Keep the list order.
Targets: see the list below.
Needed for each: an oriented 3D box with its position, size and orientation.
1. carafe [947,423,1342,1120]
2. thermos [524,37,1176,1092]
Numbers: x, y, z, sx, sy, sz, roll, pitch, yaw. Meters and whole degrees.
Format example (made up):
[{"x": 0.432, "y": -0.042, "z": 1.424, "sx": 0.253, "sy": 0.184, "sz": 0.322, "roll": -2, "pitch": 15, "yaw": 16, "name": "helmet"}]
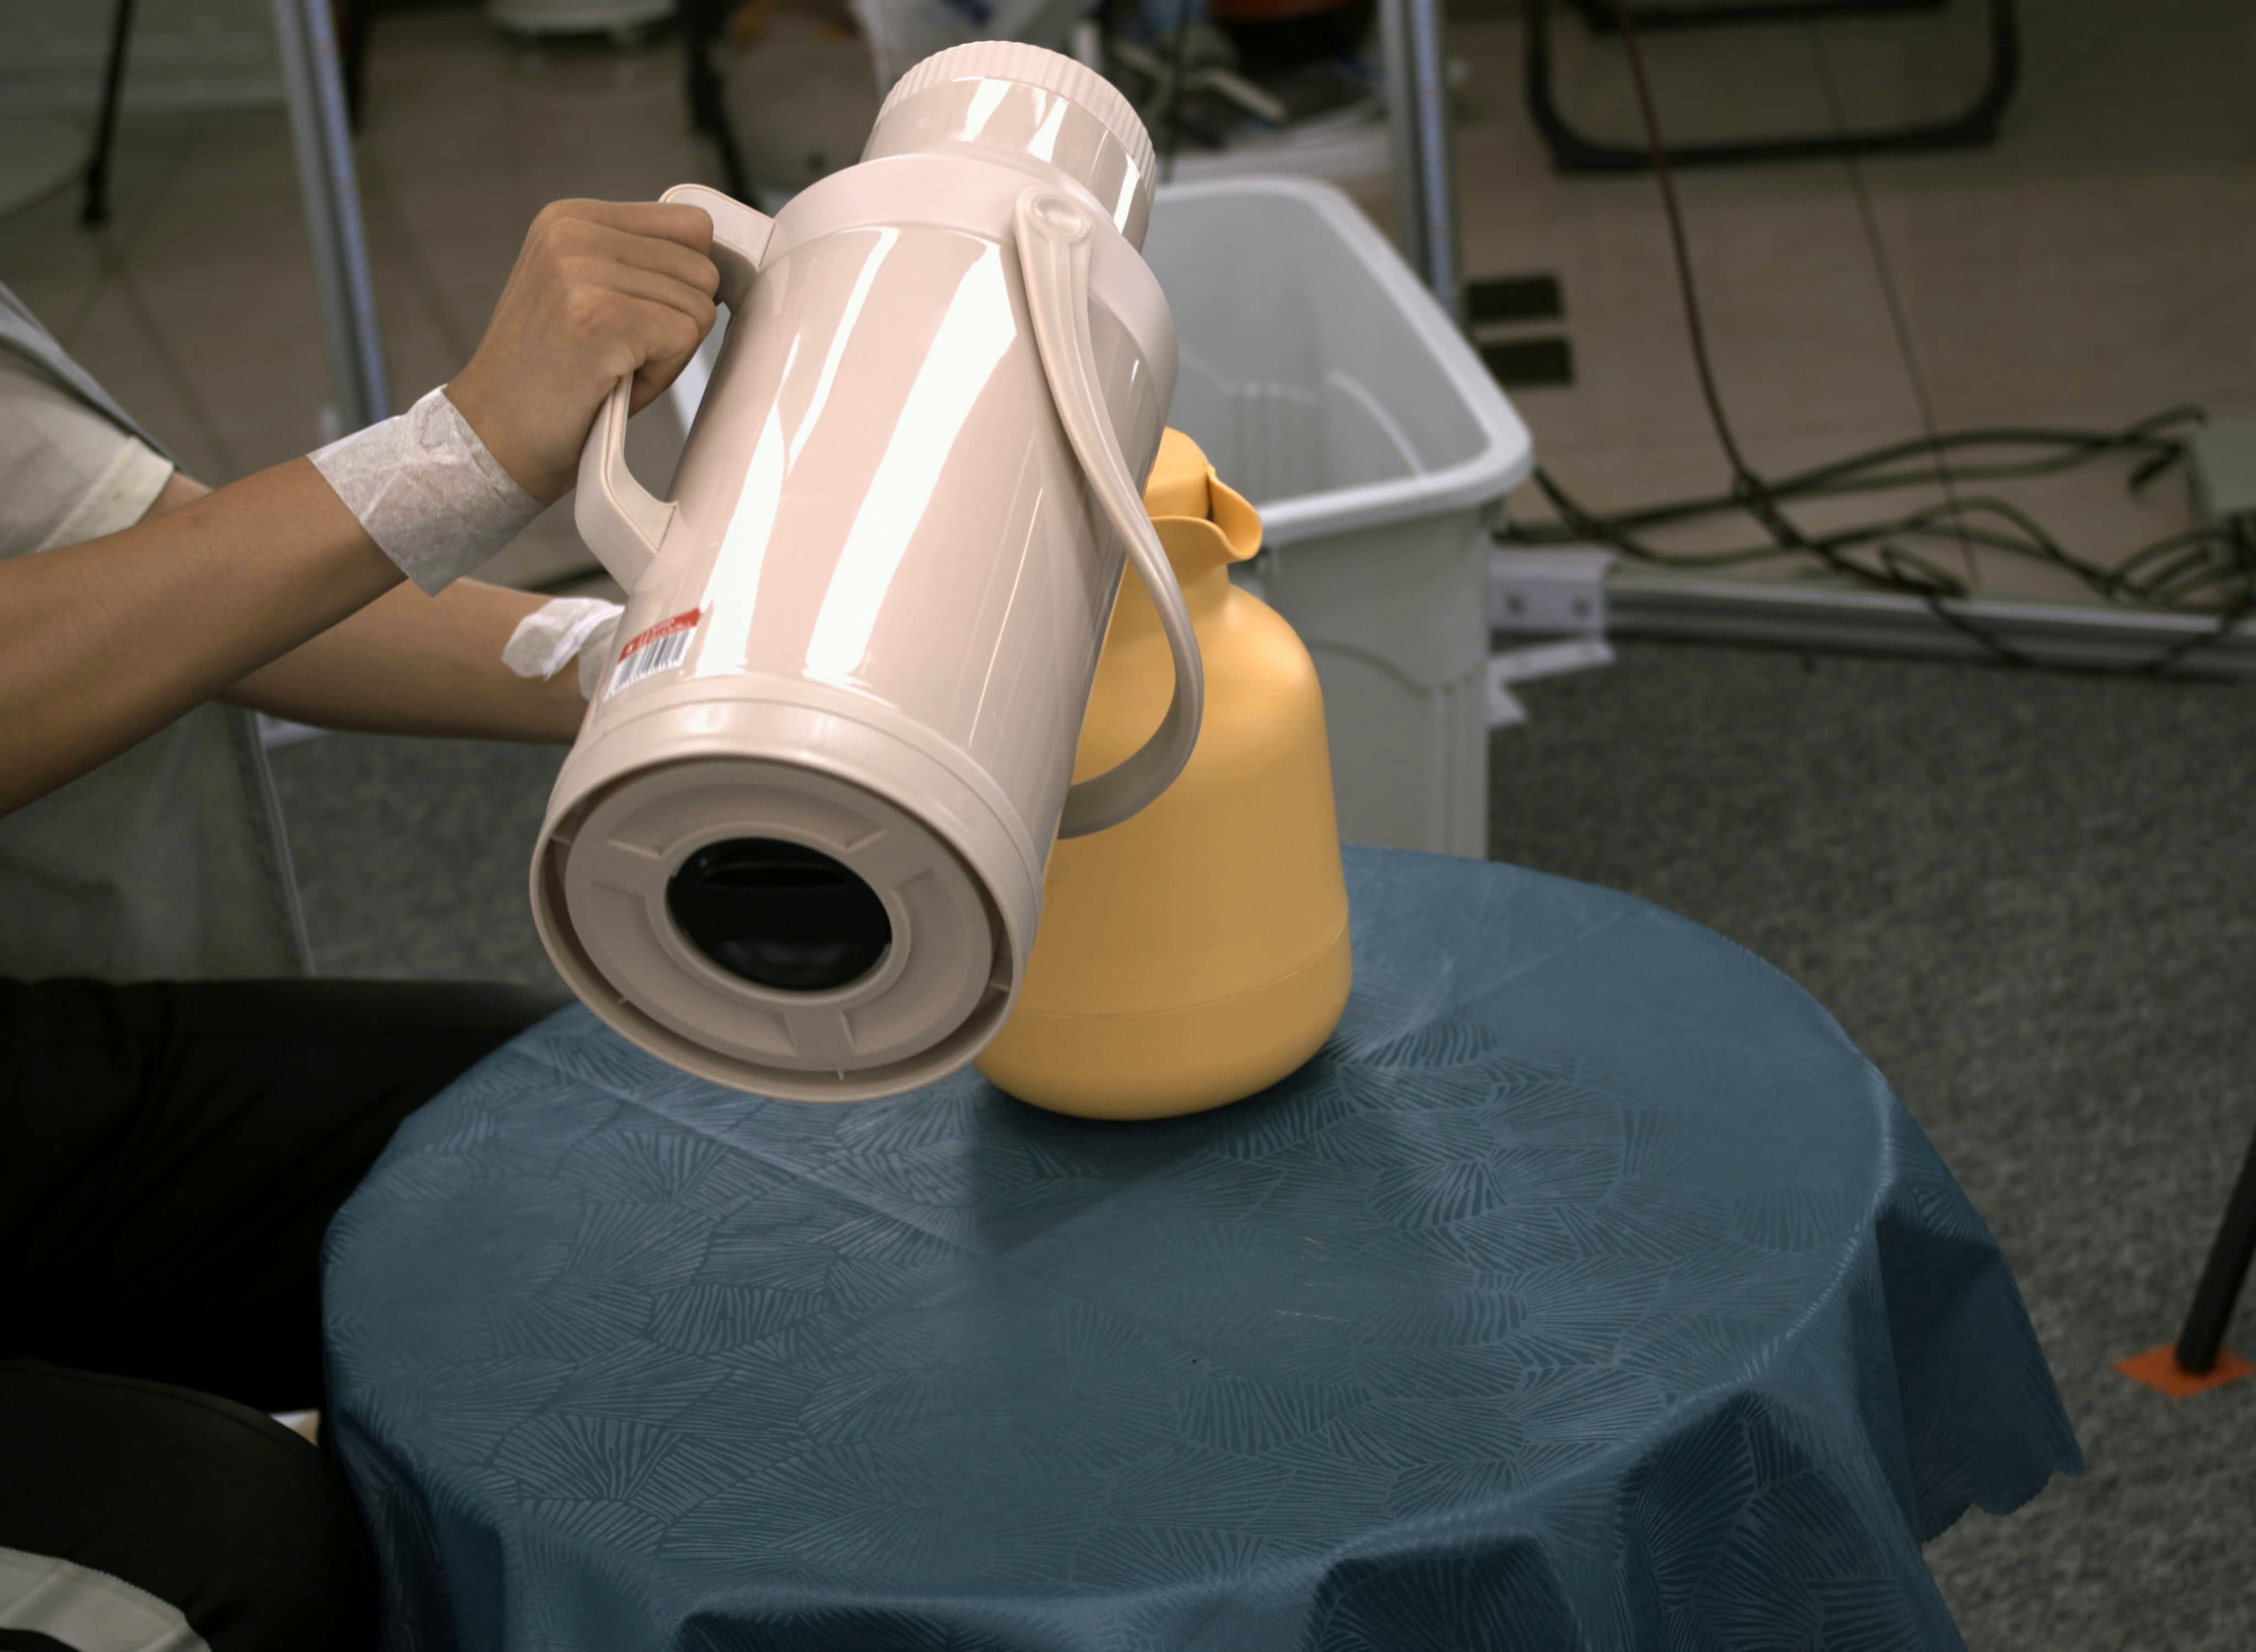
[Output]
[{"x": -0.018, "y": -0.031, "z": 2.205, "sx": 0.201, "sy": 0.264, "sz": 0.162, "roll": 15, "pitch": 31, "yaw": 36, "name": "carafe"}, {"x": -0.091, "y": -0.112, "z": 1.910, "sx": 0.207, "sy": 0.178, "sz": 0.399, "roll": 27, "pitch": 46, "yaw": -12, "name": "thermos"}]
